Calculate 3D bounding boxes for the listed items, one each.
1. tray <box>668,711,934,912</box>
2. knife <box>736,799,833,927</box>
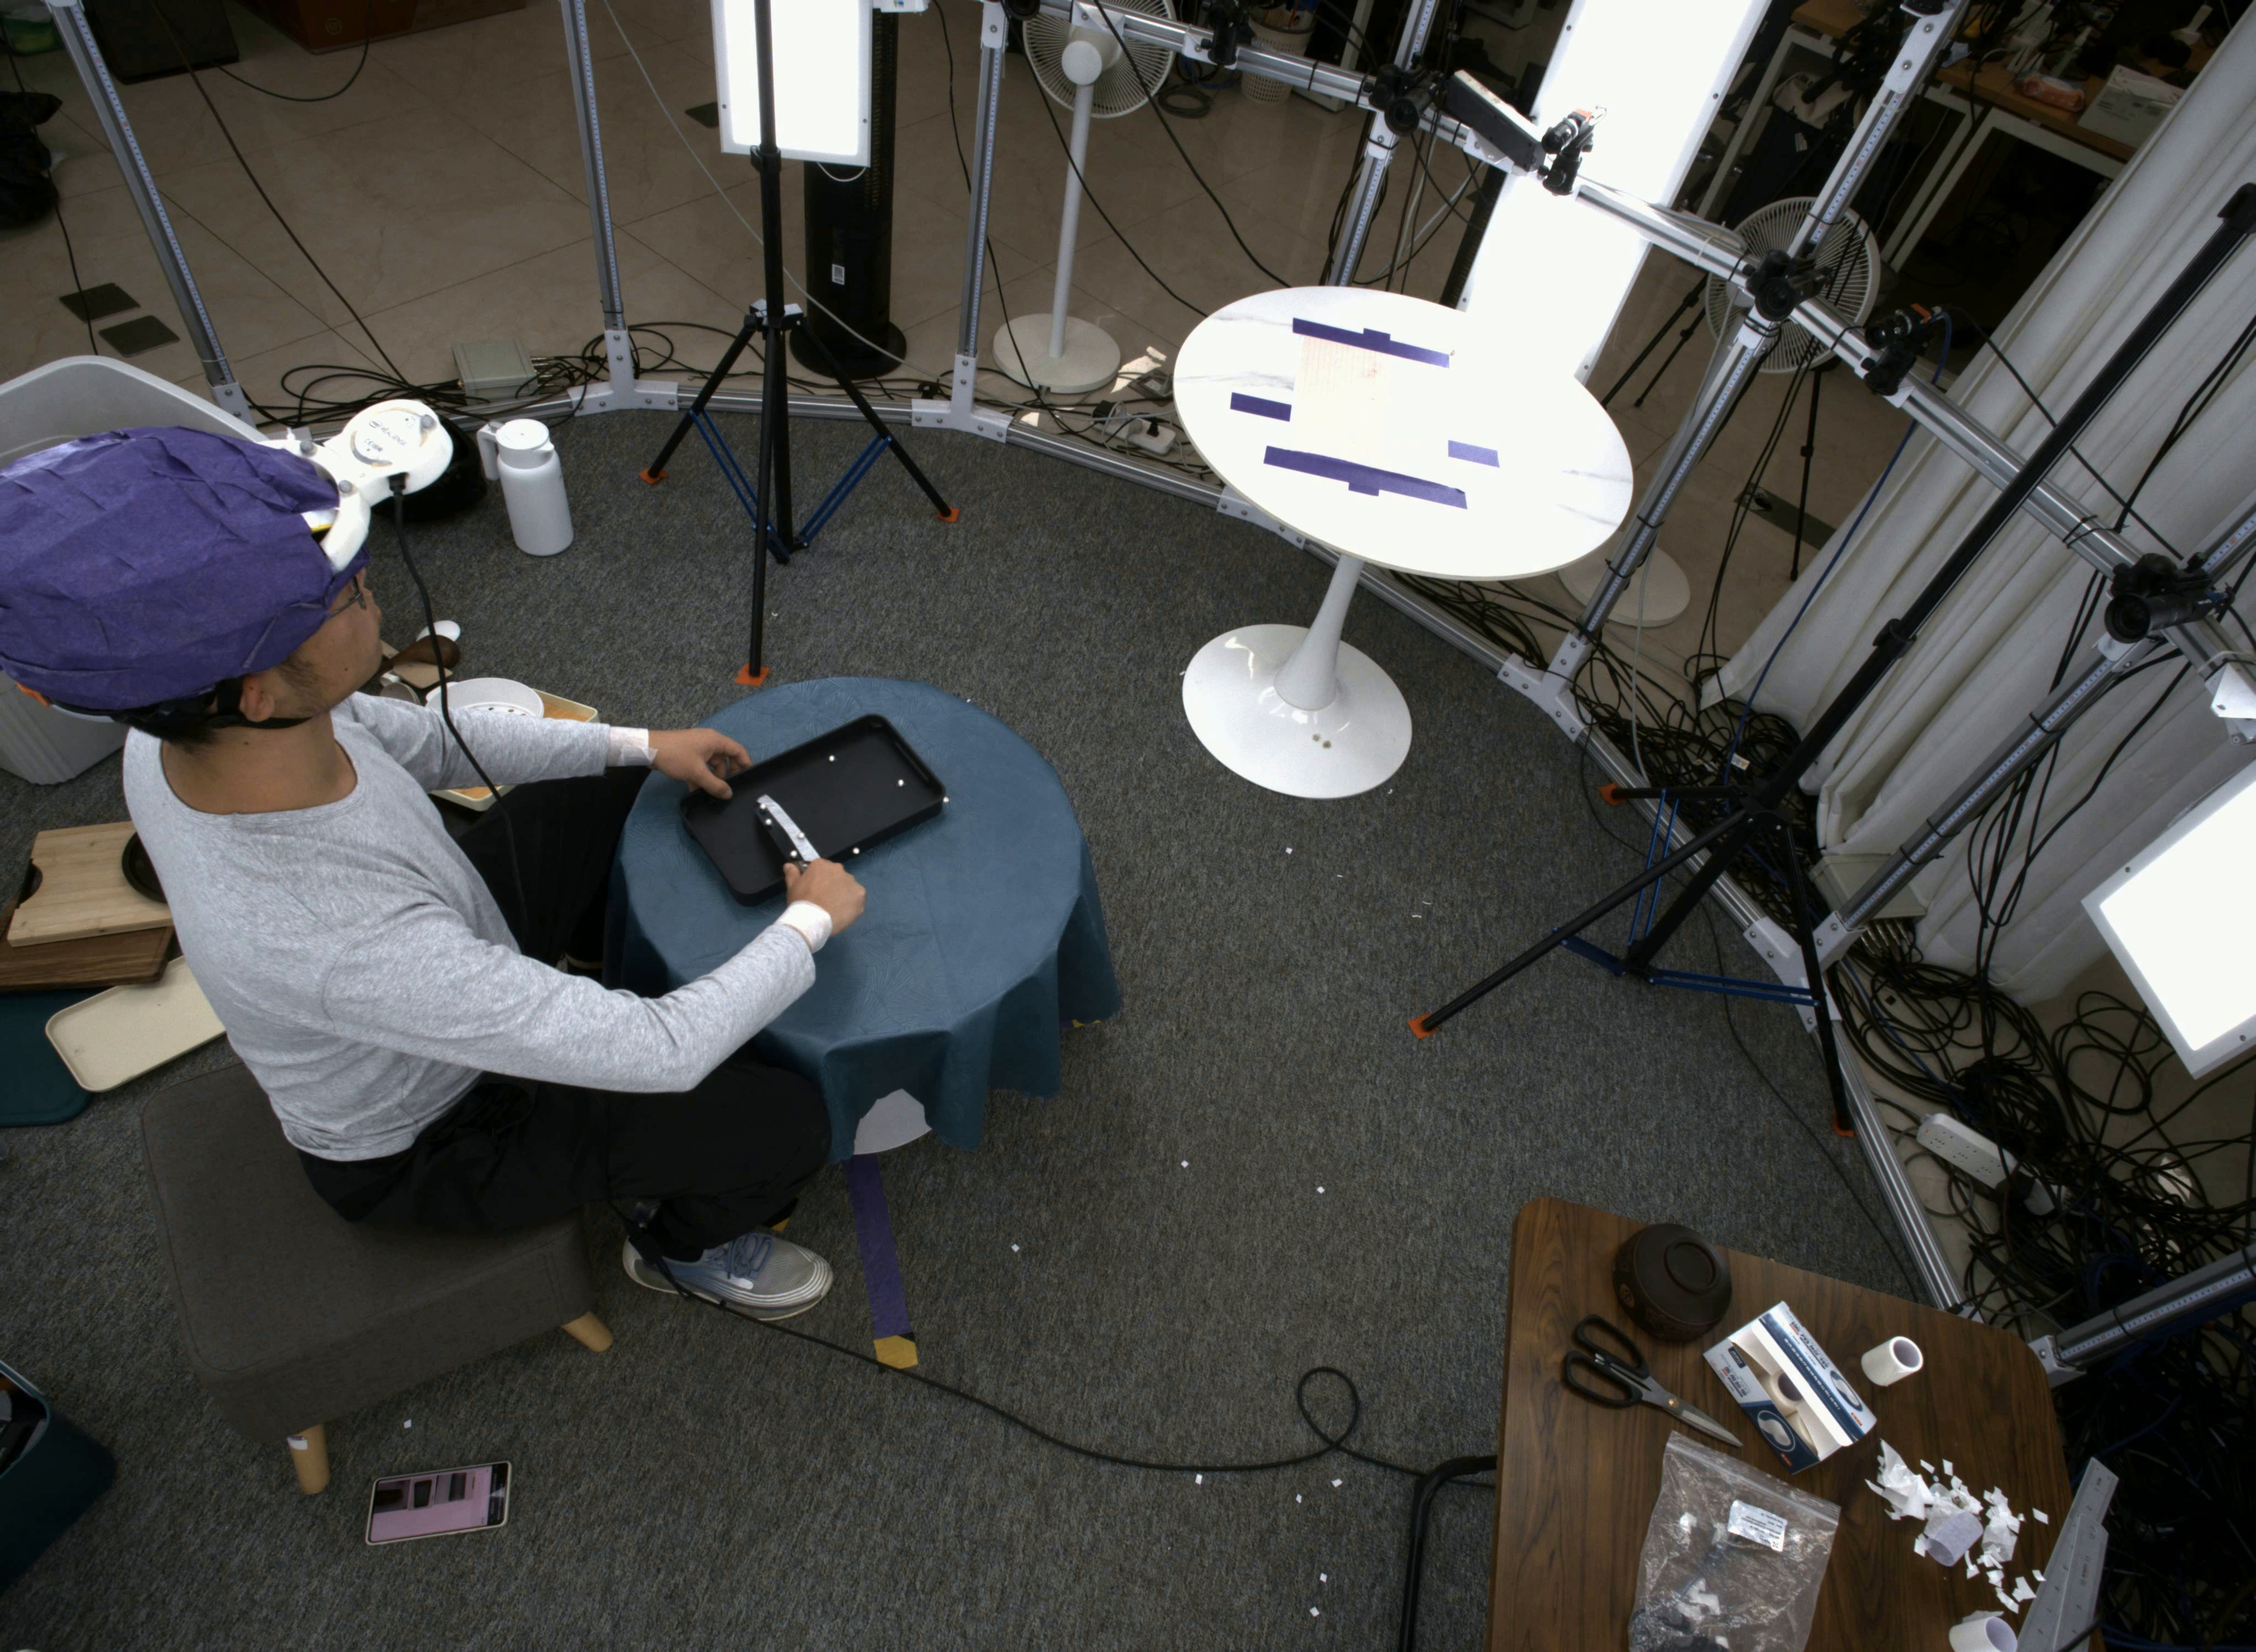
[{"bbox_3d":[-0.432,-0.026,1.730,0.319,0.038,0.180,-33,67,-31],"label":"tray"},{"bbox_3d":[-0.436,0.037,1.635,0.051,0.020,0.278,-3,34,-38],"label":"knife"}]
